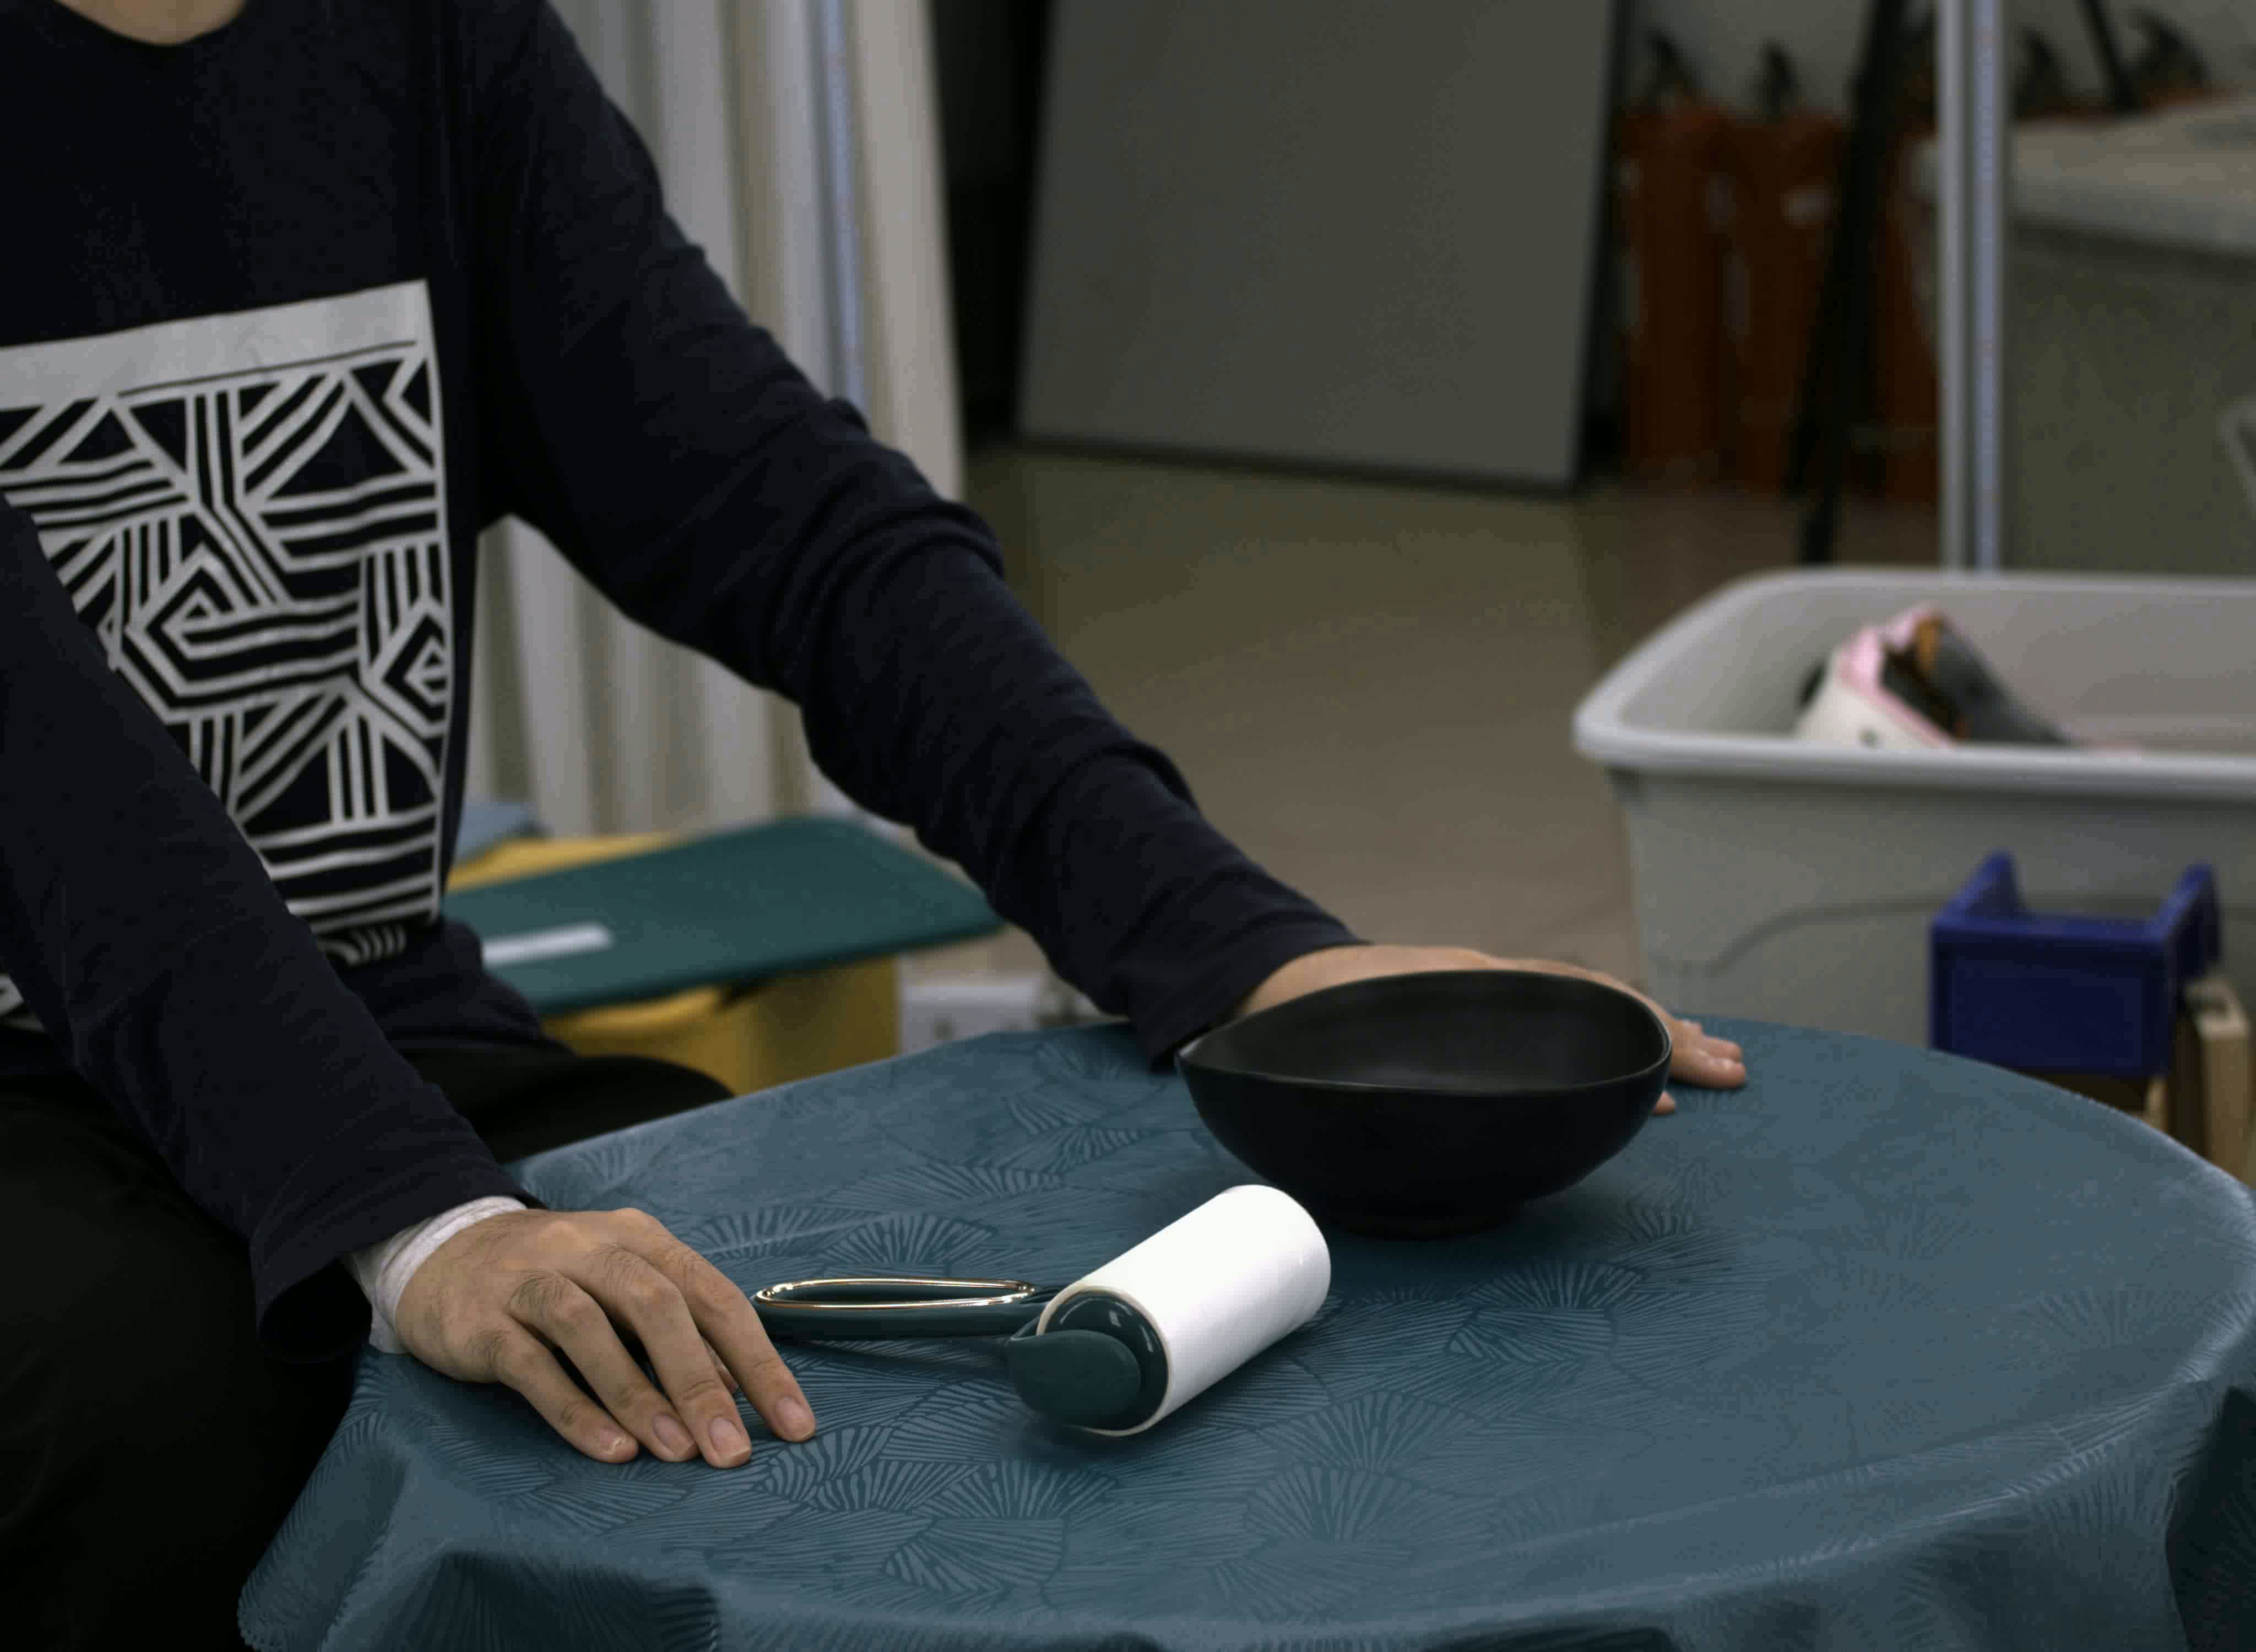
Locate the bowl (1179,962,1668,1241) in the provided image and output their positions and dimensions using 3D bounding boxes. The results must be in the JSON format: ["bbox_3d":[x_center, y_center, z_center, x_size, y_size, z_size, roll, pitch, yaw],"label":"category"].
[{"bbox_3d":[0.094,0.092,1.726,0.171,0.067,0.135,3,15,34],"label":"bowl"}]

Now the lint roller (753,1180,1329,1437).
[{"bbox_3d":[-0.040,0.143,1.620,0.181,0.049,0.132,-2,13,32],"label":"lint roller"}]
